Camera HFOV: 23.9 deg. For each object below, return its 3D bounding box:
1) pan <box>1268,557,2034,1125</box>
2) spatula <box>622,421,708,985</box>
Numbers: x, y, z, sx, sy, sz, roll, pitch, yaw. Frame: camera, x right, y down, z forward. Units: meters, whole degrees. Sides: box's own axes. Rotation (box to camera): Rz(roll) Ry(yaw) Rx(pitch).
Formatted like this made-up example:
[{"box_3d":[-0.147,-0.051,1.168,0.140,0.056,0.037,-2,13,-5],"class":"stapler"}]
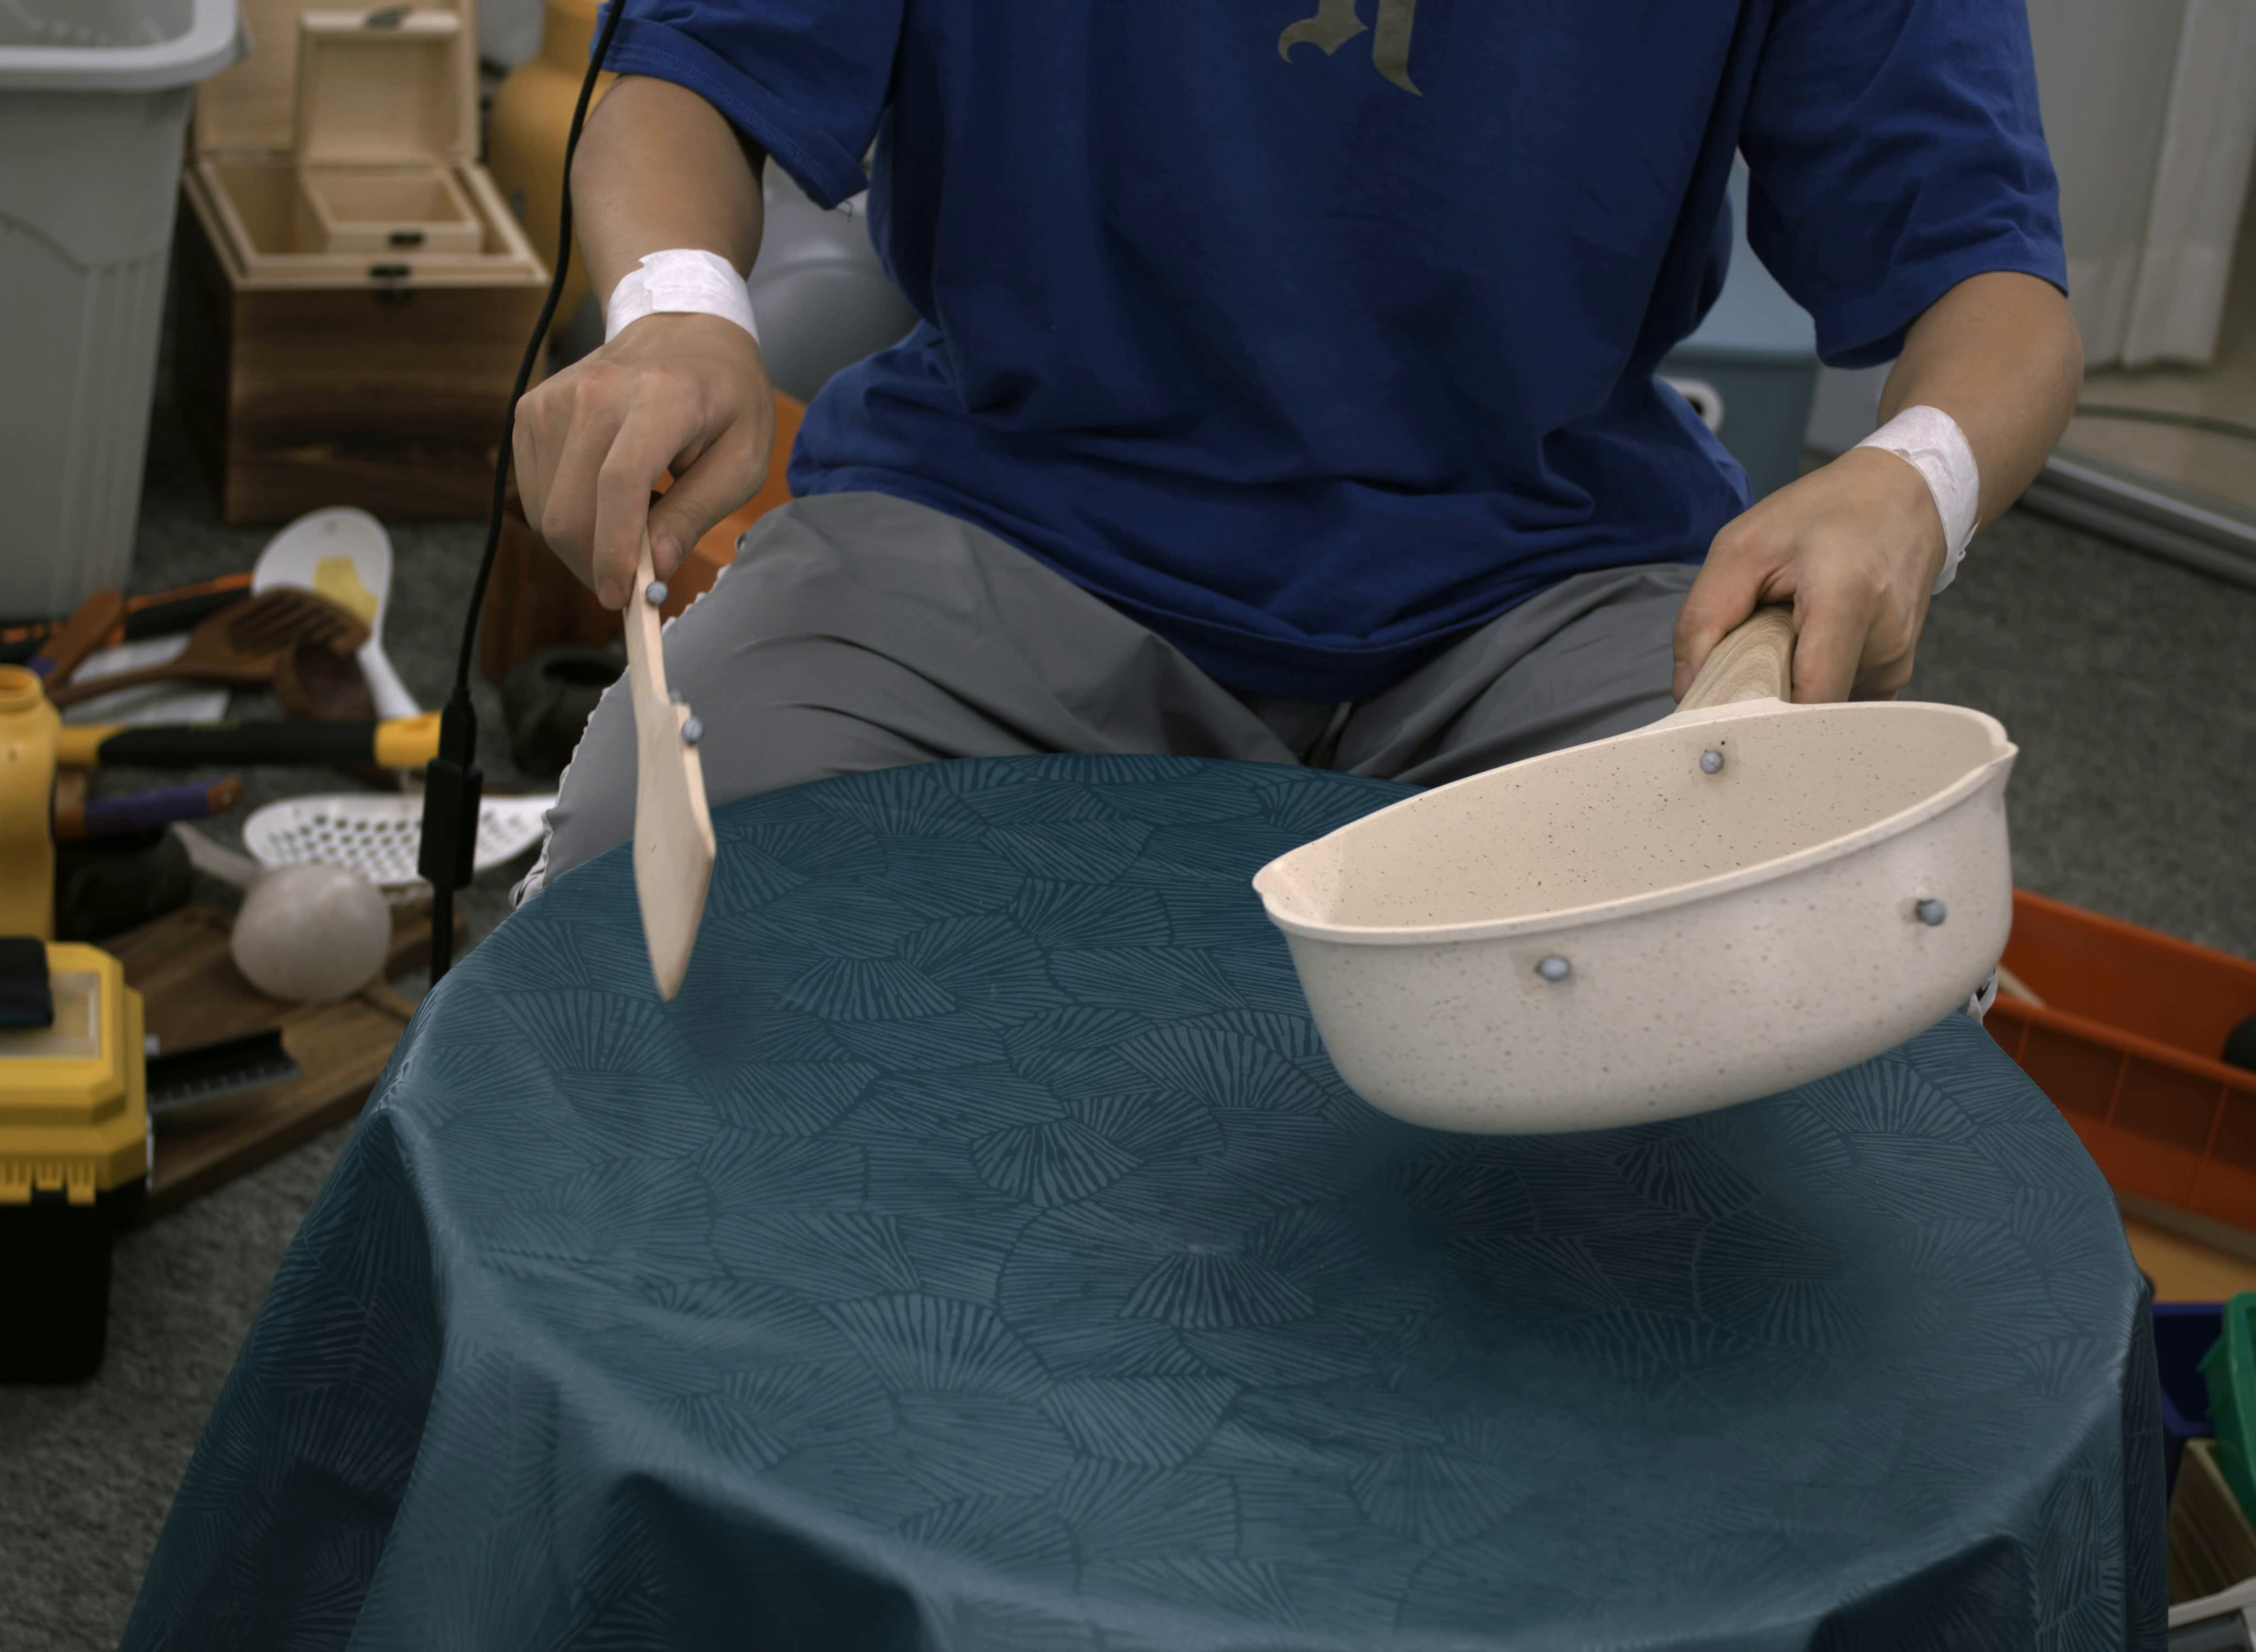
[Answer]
[{"box_3d":[0.205,0.000,1.847,0.263,0.102,0.434,-12,11,20],"class":"pan"},{"box_3d":[-0.170,-0.059,1.918,0.010,0.072,0.295,6,36,-14],"class":"spatula"}]
